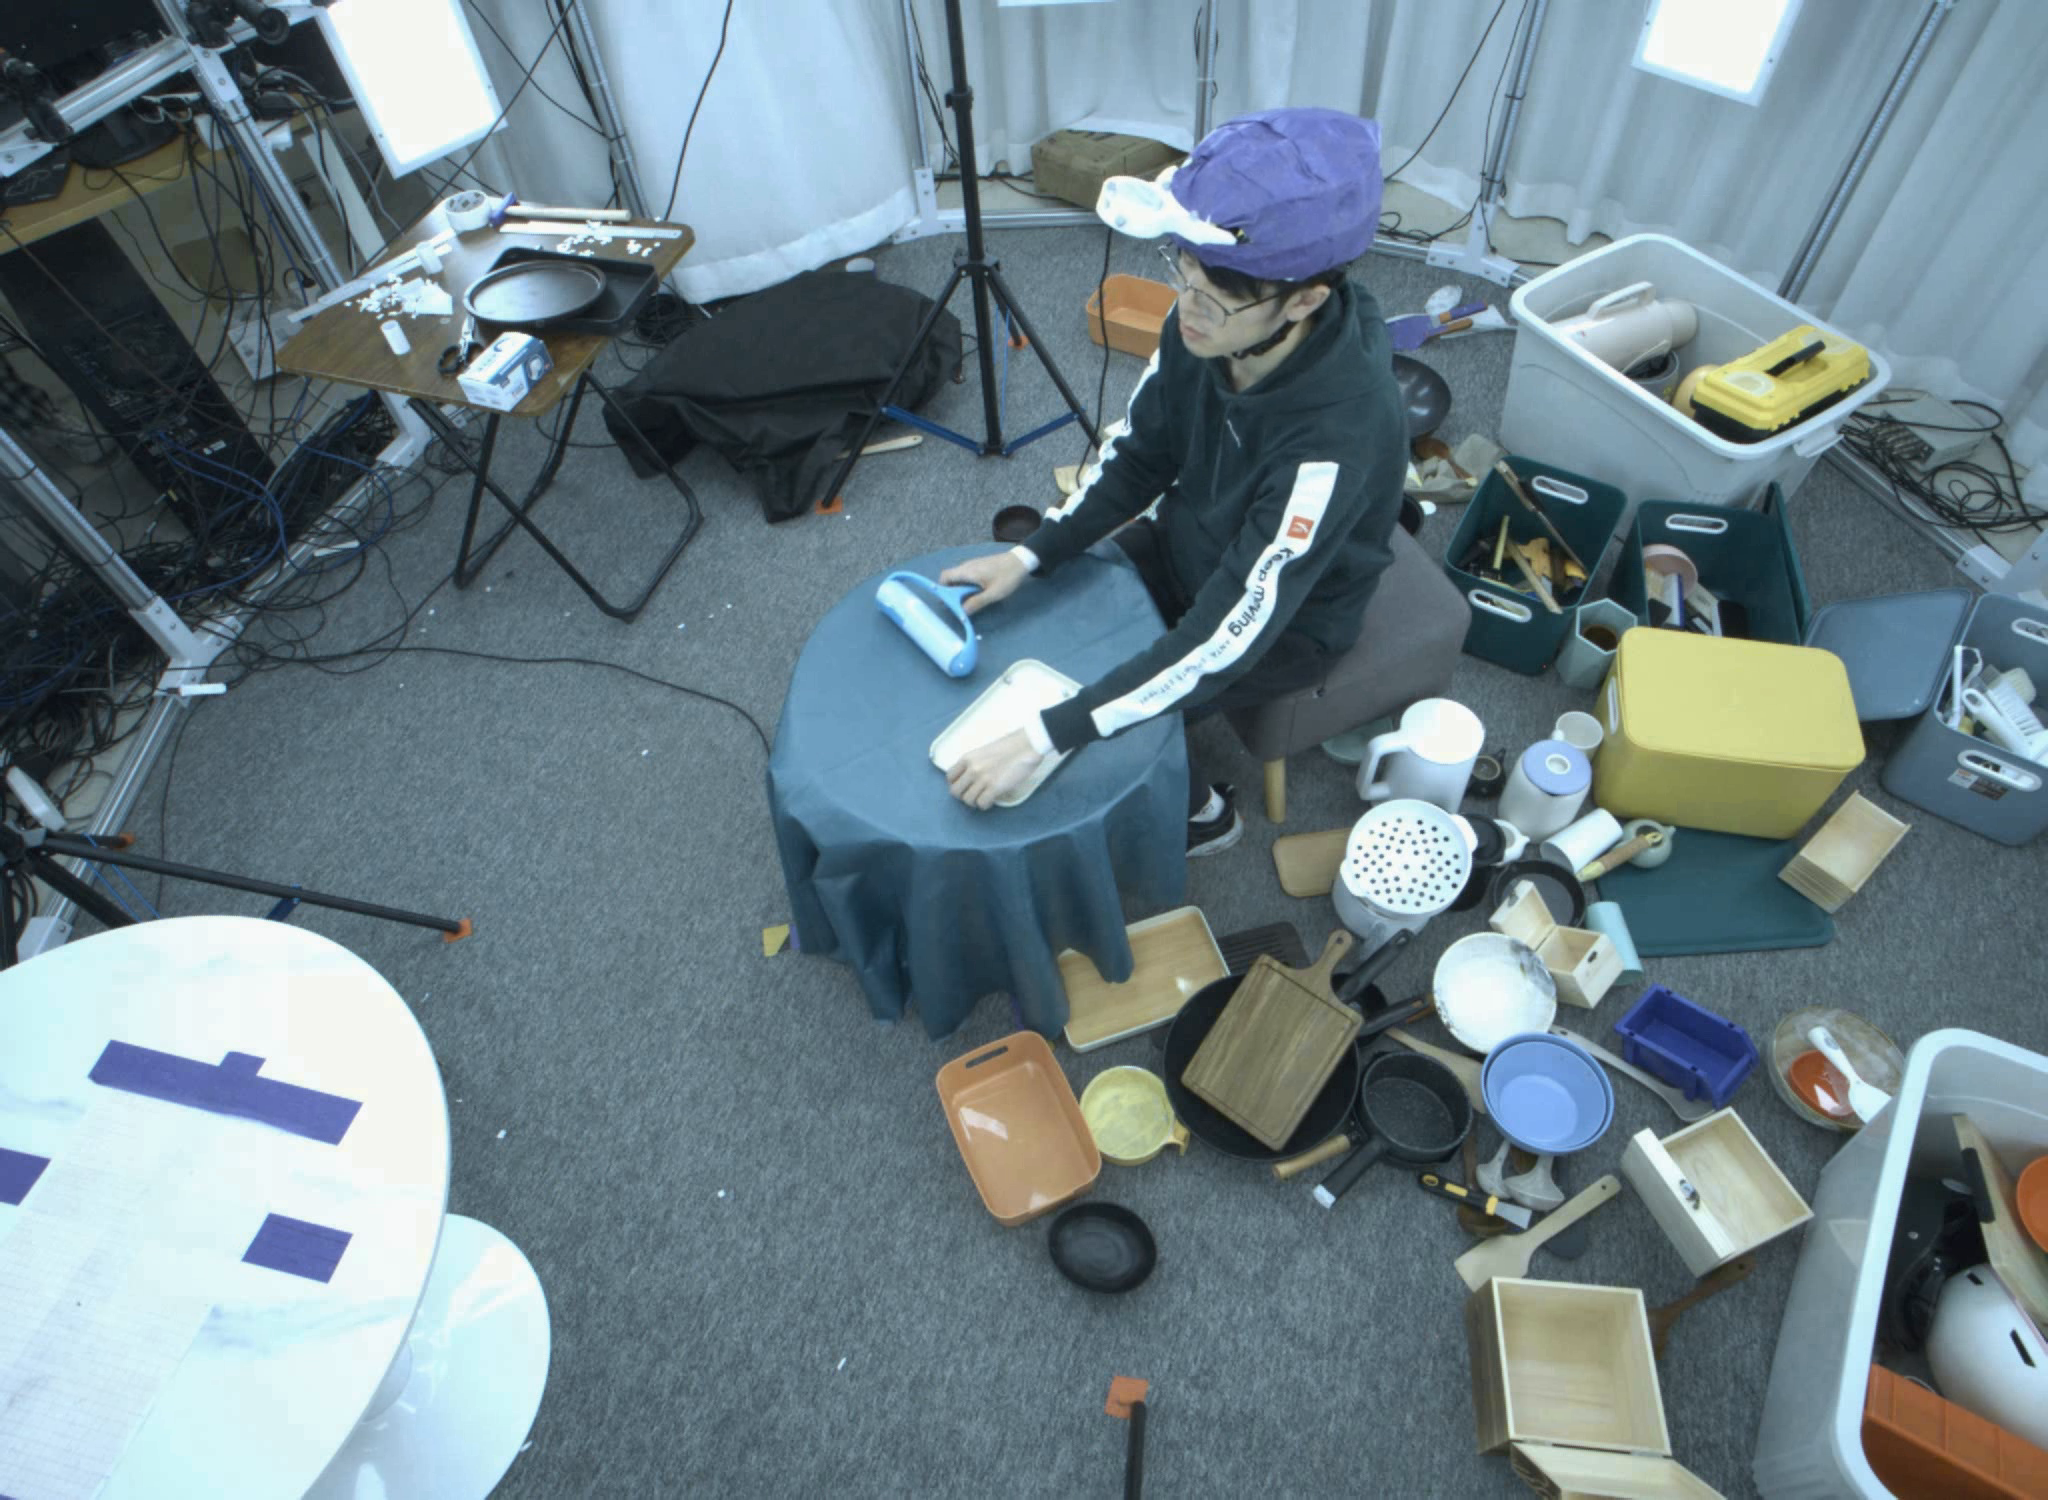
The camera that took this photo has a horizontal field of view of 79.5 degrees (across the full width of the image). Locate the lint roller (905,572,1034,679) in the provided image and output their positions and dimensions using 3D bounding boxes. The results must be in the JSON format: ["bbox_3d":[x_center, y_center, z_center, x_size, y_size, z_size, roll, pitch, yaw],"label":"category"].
[{"bbox_3d":[-0.063,-0.222,1.904,0.181,0.069,0.224,-37,60,-17],"label":"lint roller"}]

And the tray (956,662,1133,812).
[{"bbox_3d":[0.031,-0.021,1.786,0.168,0.017,0.241,35,62,22],"label":"tray"}]
